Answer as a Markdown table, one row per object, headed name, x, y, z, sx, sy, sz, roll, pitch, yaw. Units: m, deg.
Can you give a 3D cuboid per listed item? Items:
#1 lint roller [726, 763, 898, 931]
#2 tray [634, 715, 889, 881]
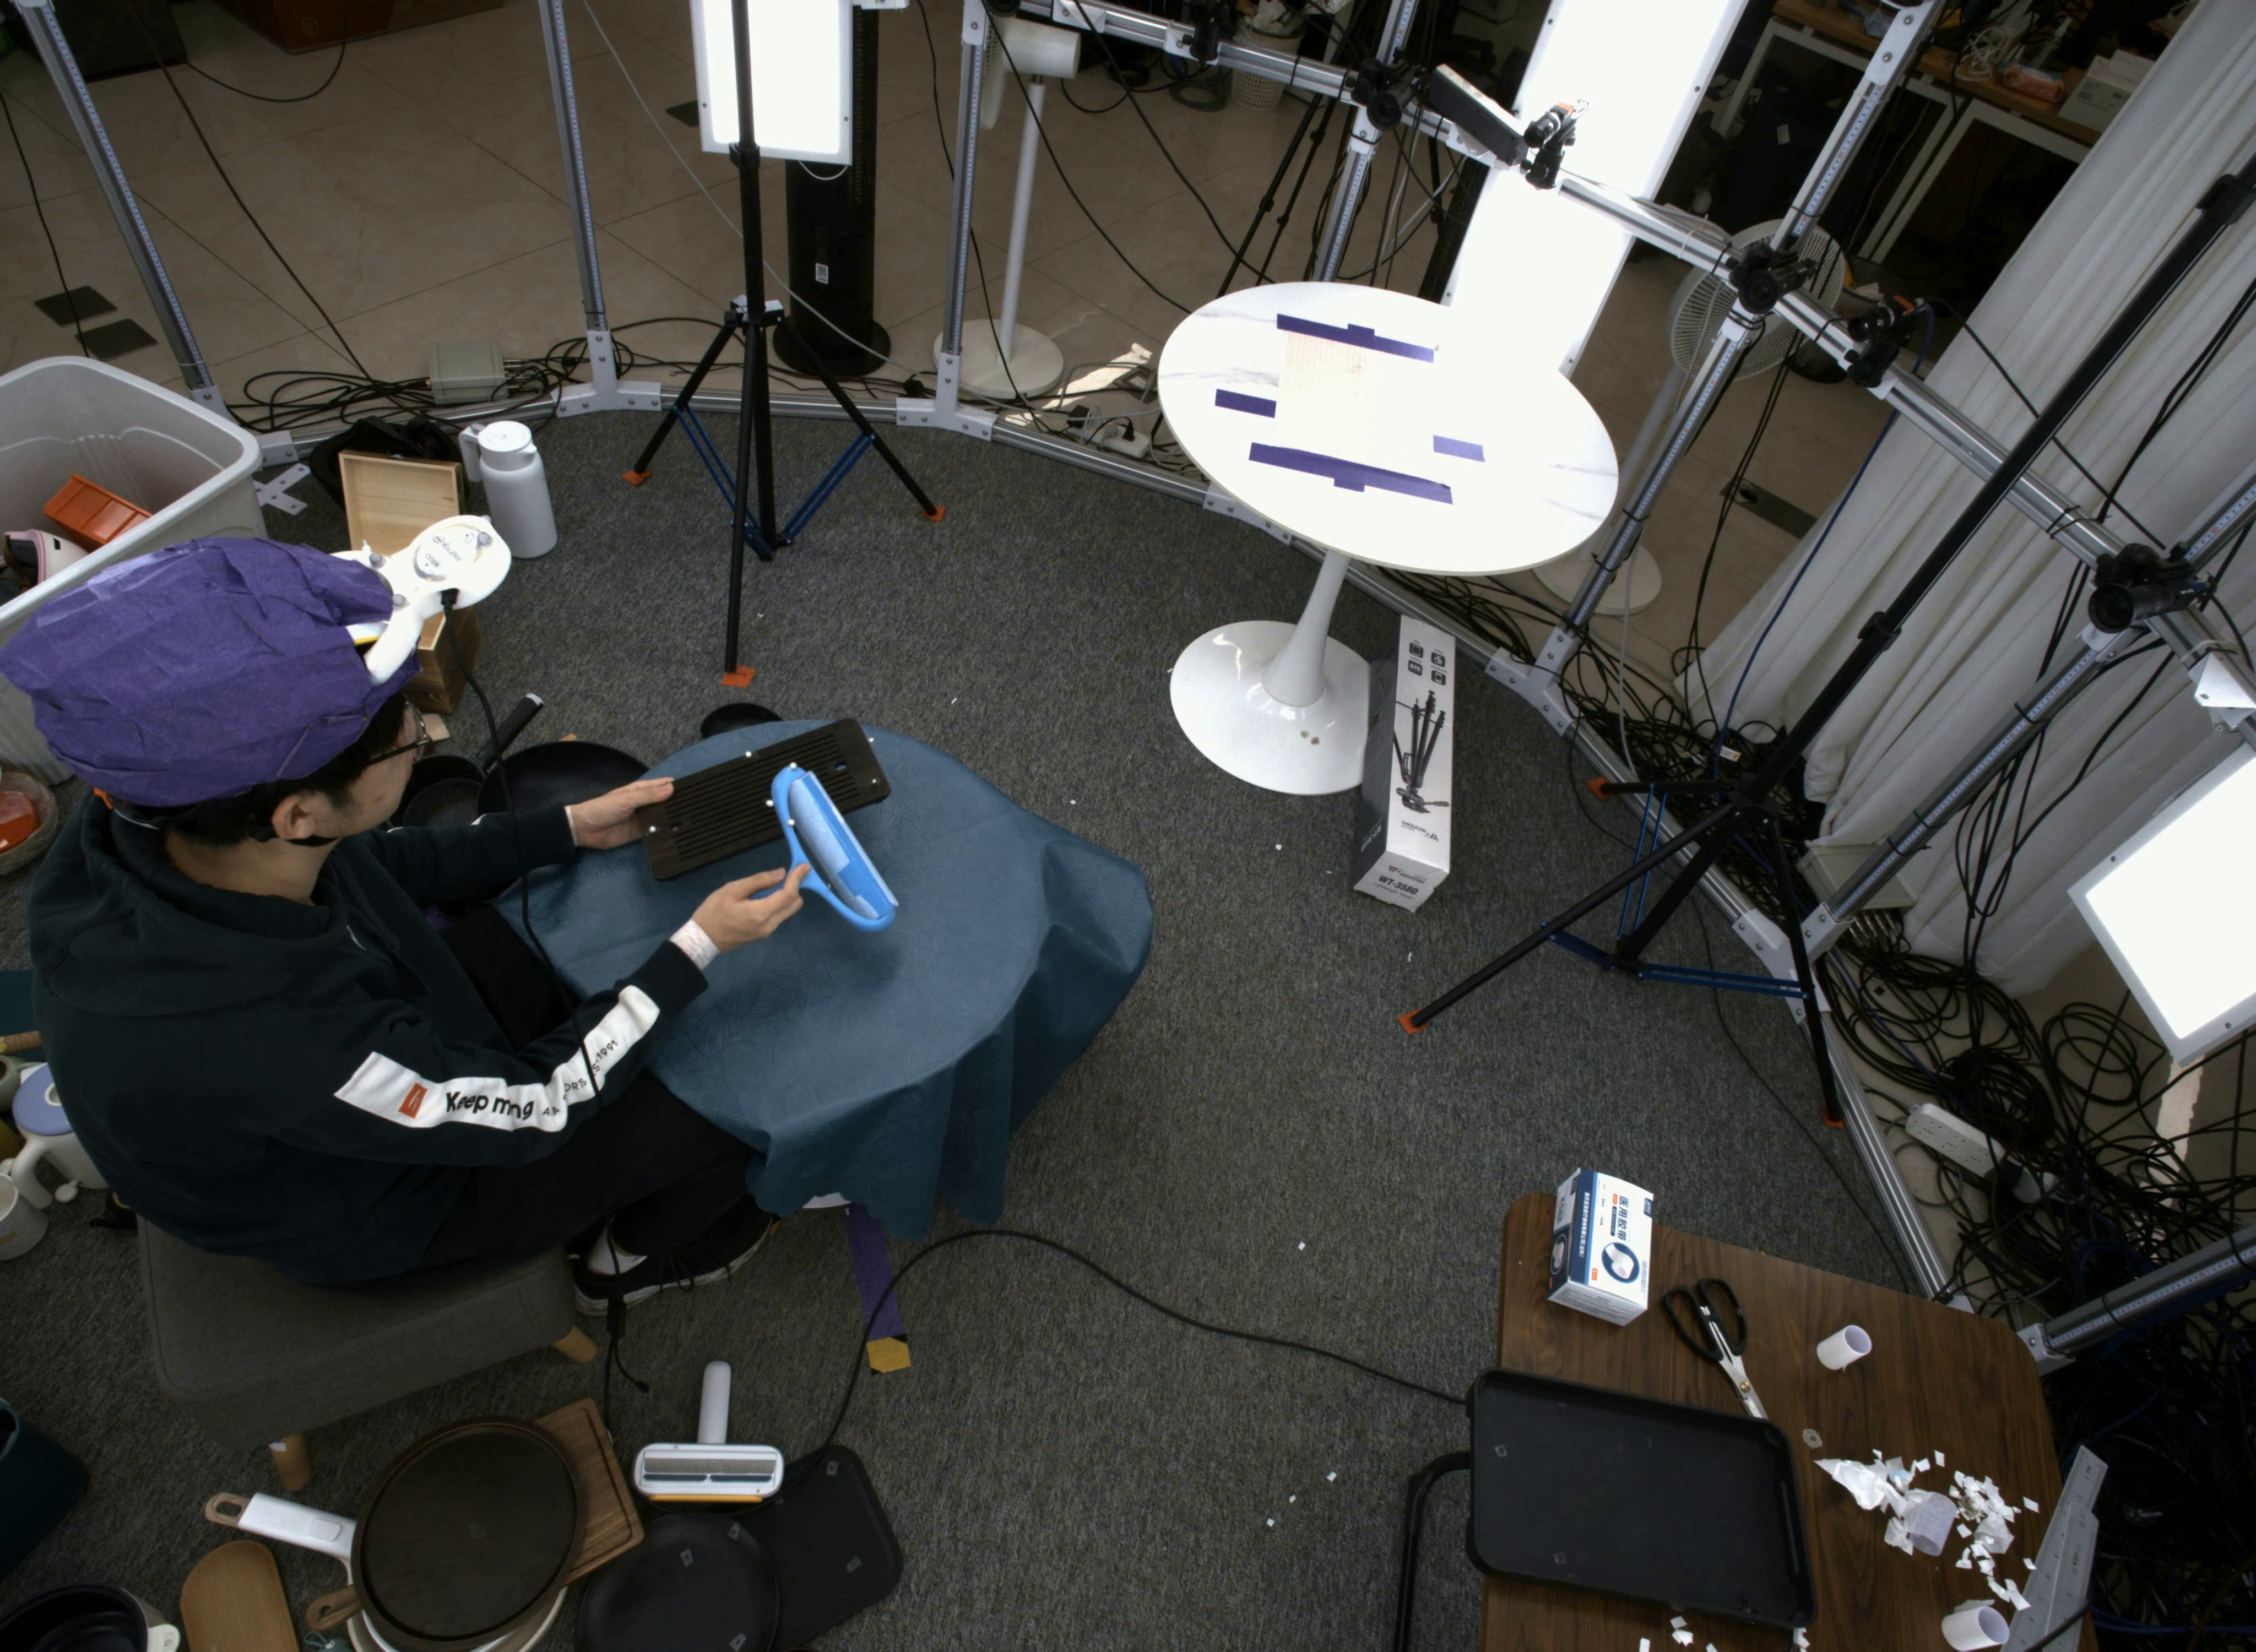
| name | x | y | z | sx | sy | sz | roll | pitch | yaw |
| --- | --- | --- | --- | --- | --- | --- | --- | --- | --- |
| lint roller | -0.394 | 0.059 | 1.542 | 0.180 | 0.066 | 0.235 | -42 | 109 | -28 |
| tray | -0.466 | -0.038 | 1.634 | 0.306 | 0.019 | 0.164 | -22 | 49 | -15 |
